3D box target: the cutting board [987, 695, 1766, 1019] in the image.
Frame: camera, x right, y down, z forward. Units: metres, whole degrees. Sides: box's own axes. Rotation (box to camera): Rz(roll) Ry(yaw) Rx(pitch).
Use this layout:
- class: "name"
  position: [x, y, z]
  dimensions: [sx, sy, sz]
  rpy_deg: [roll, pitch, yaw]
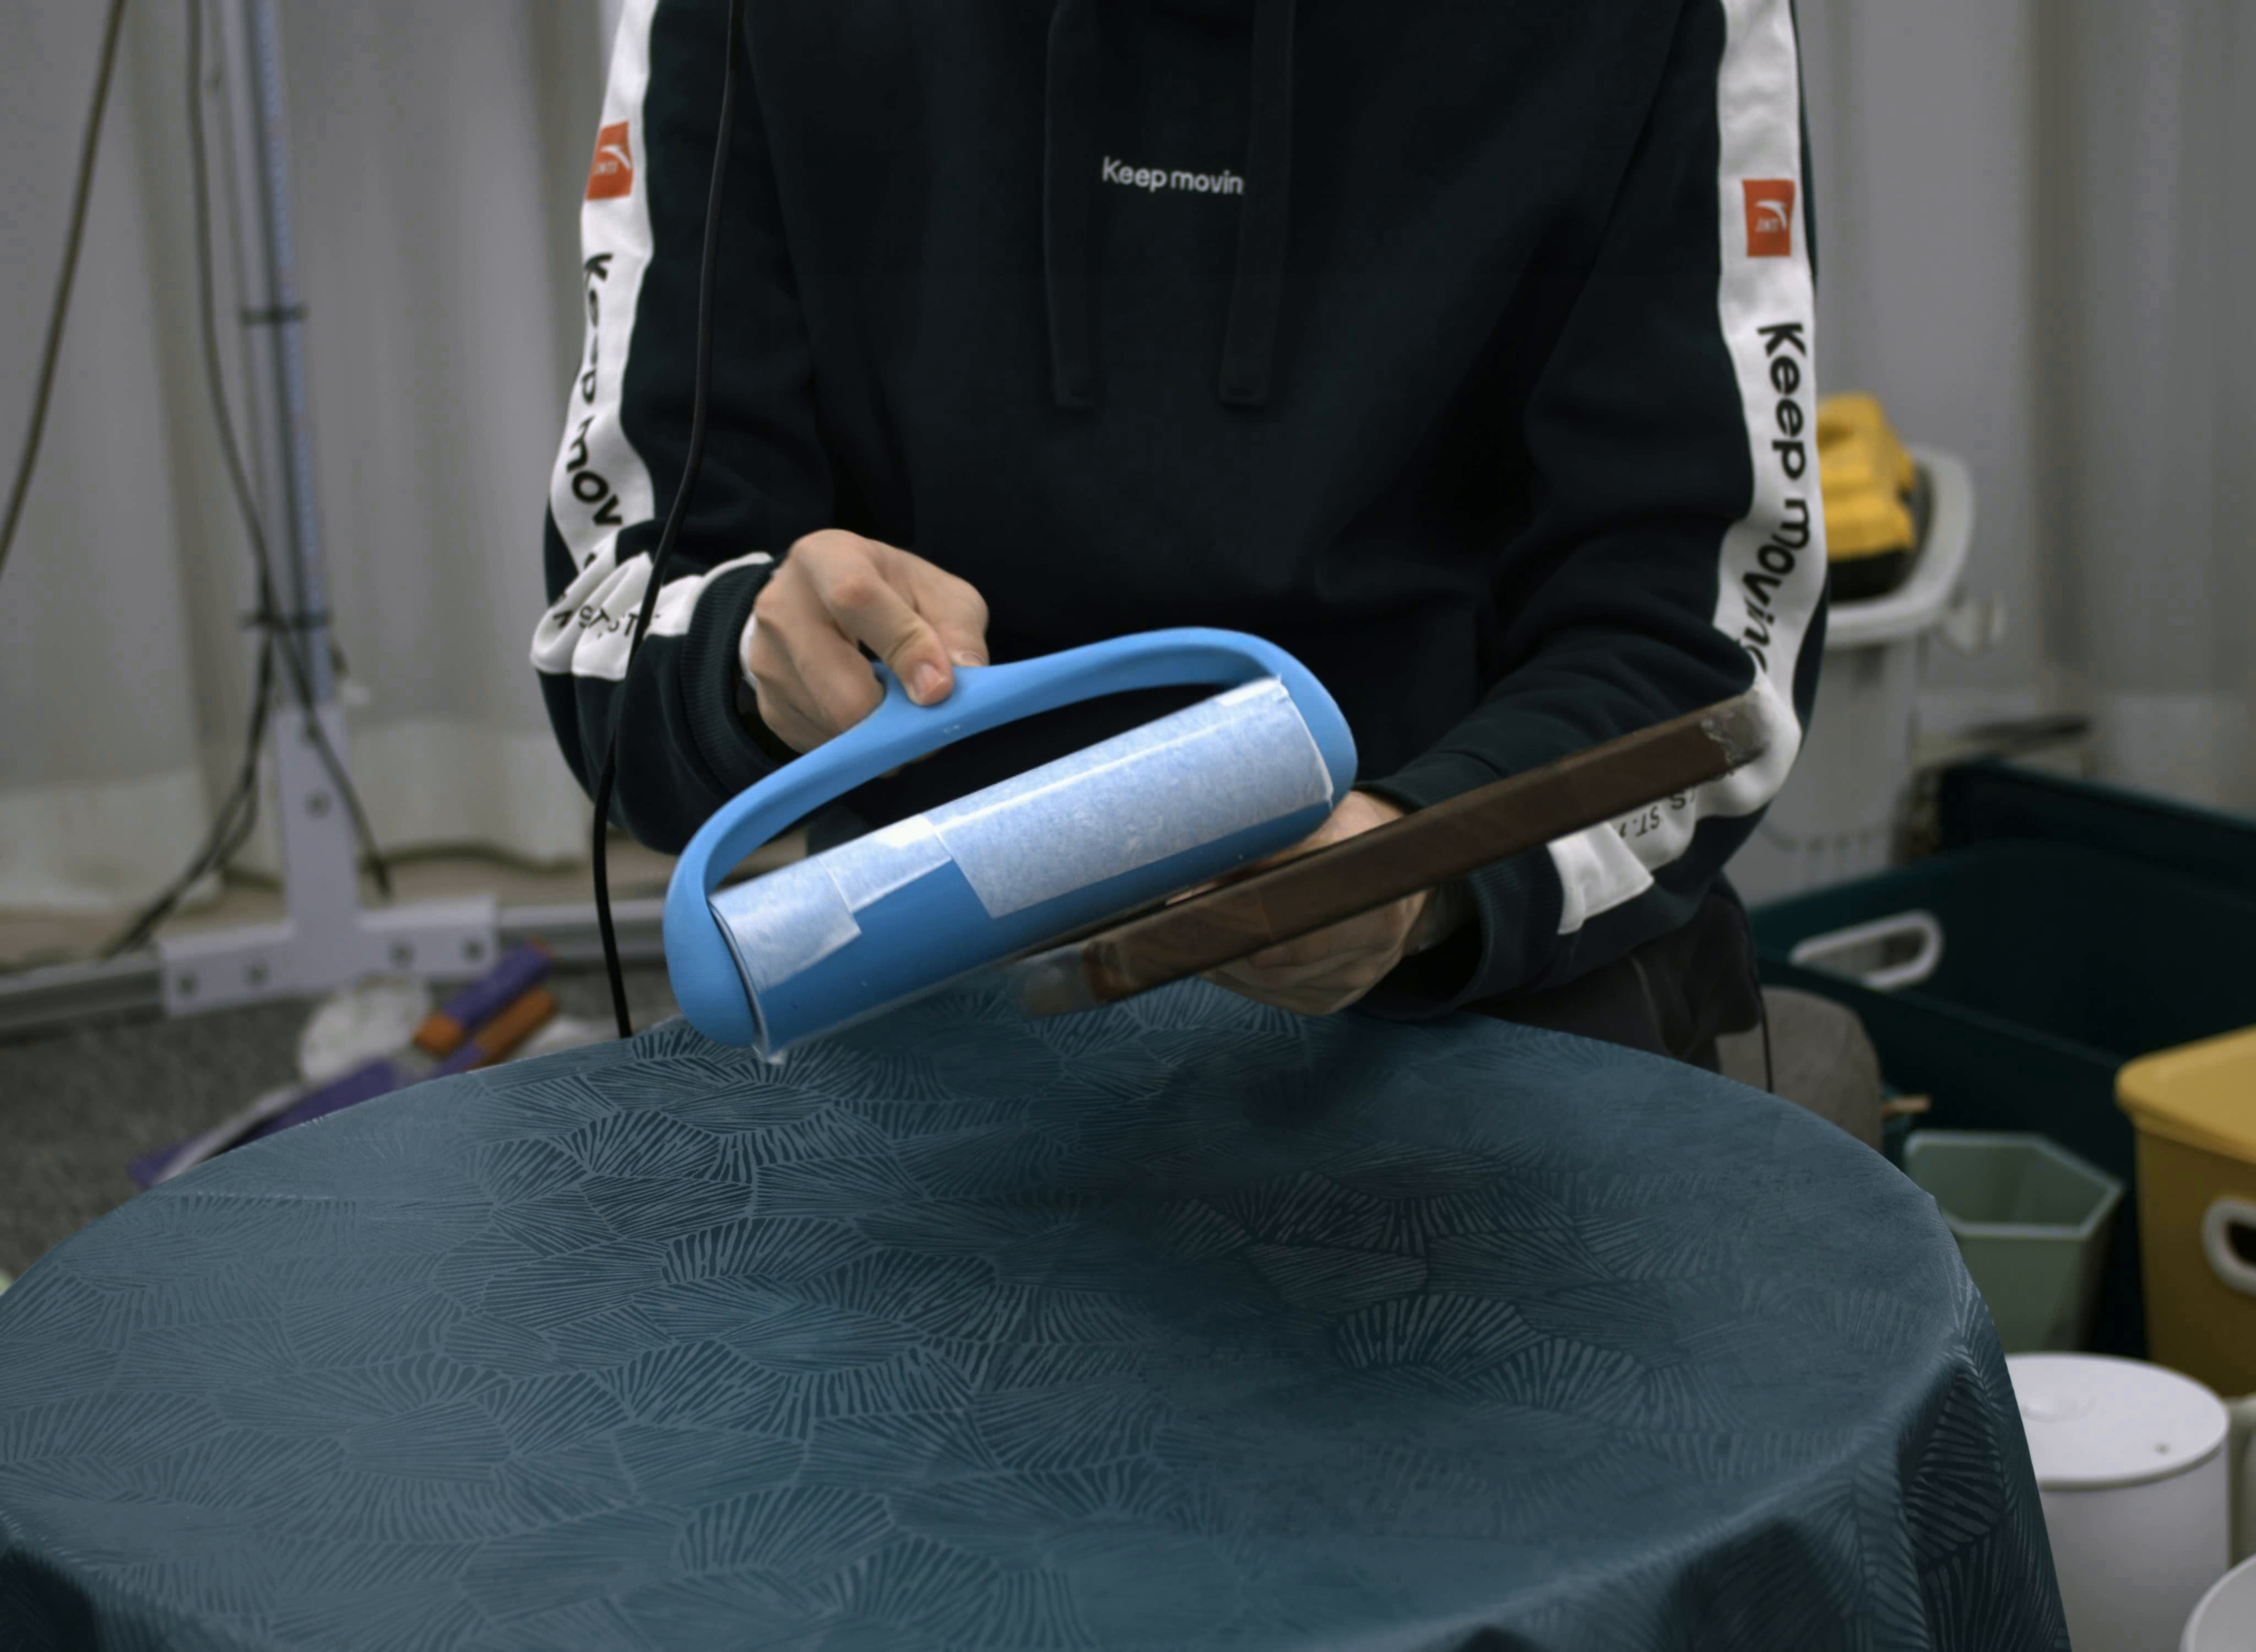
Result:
- class: "cutting board"
  position: [0.059, 0.015, 1.652]
  dimensions: [0.200, 0.023, 0.352]
  rpy_deg: [-20, -1, -8]

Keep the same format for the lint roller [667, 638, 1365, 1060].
- class: "lint roller"
  position: [-0.057, -0.016, 1.733]
  dimensions: [0.228, 0.067, 0.182]
  rpy_deg: [-23, 37, -15]
